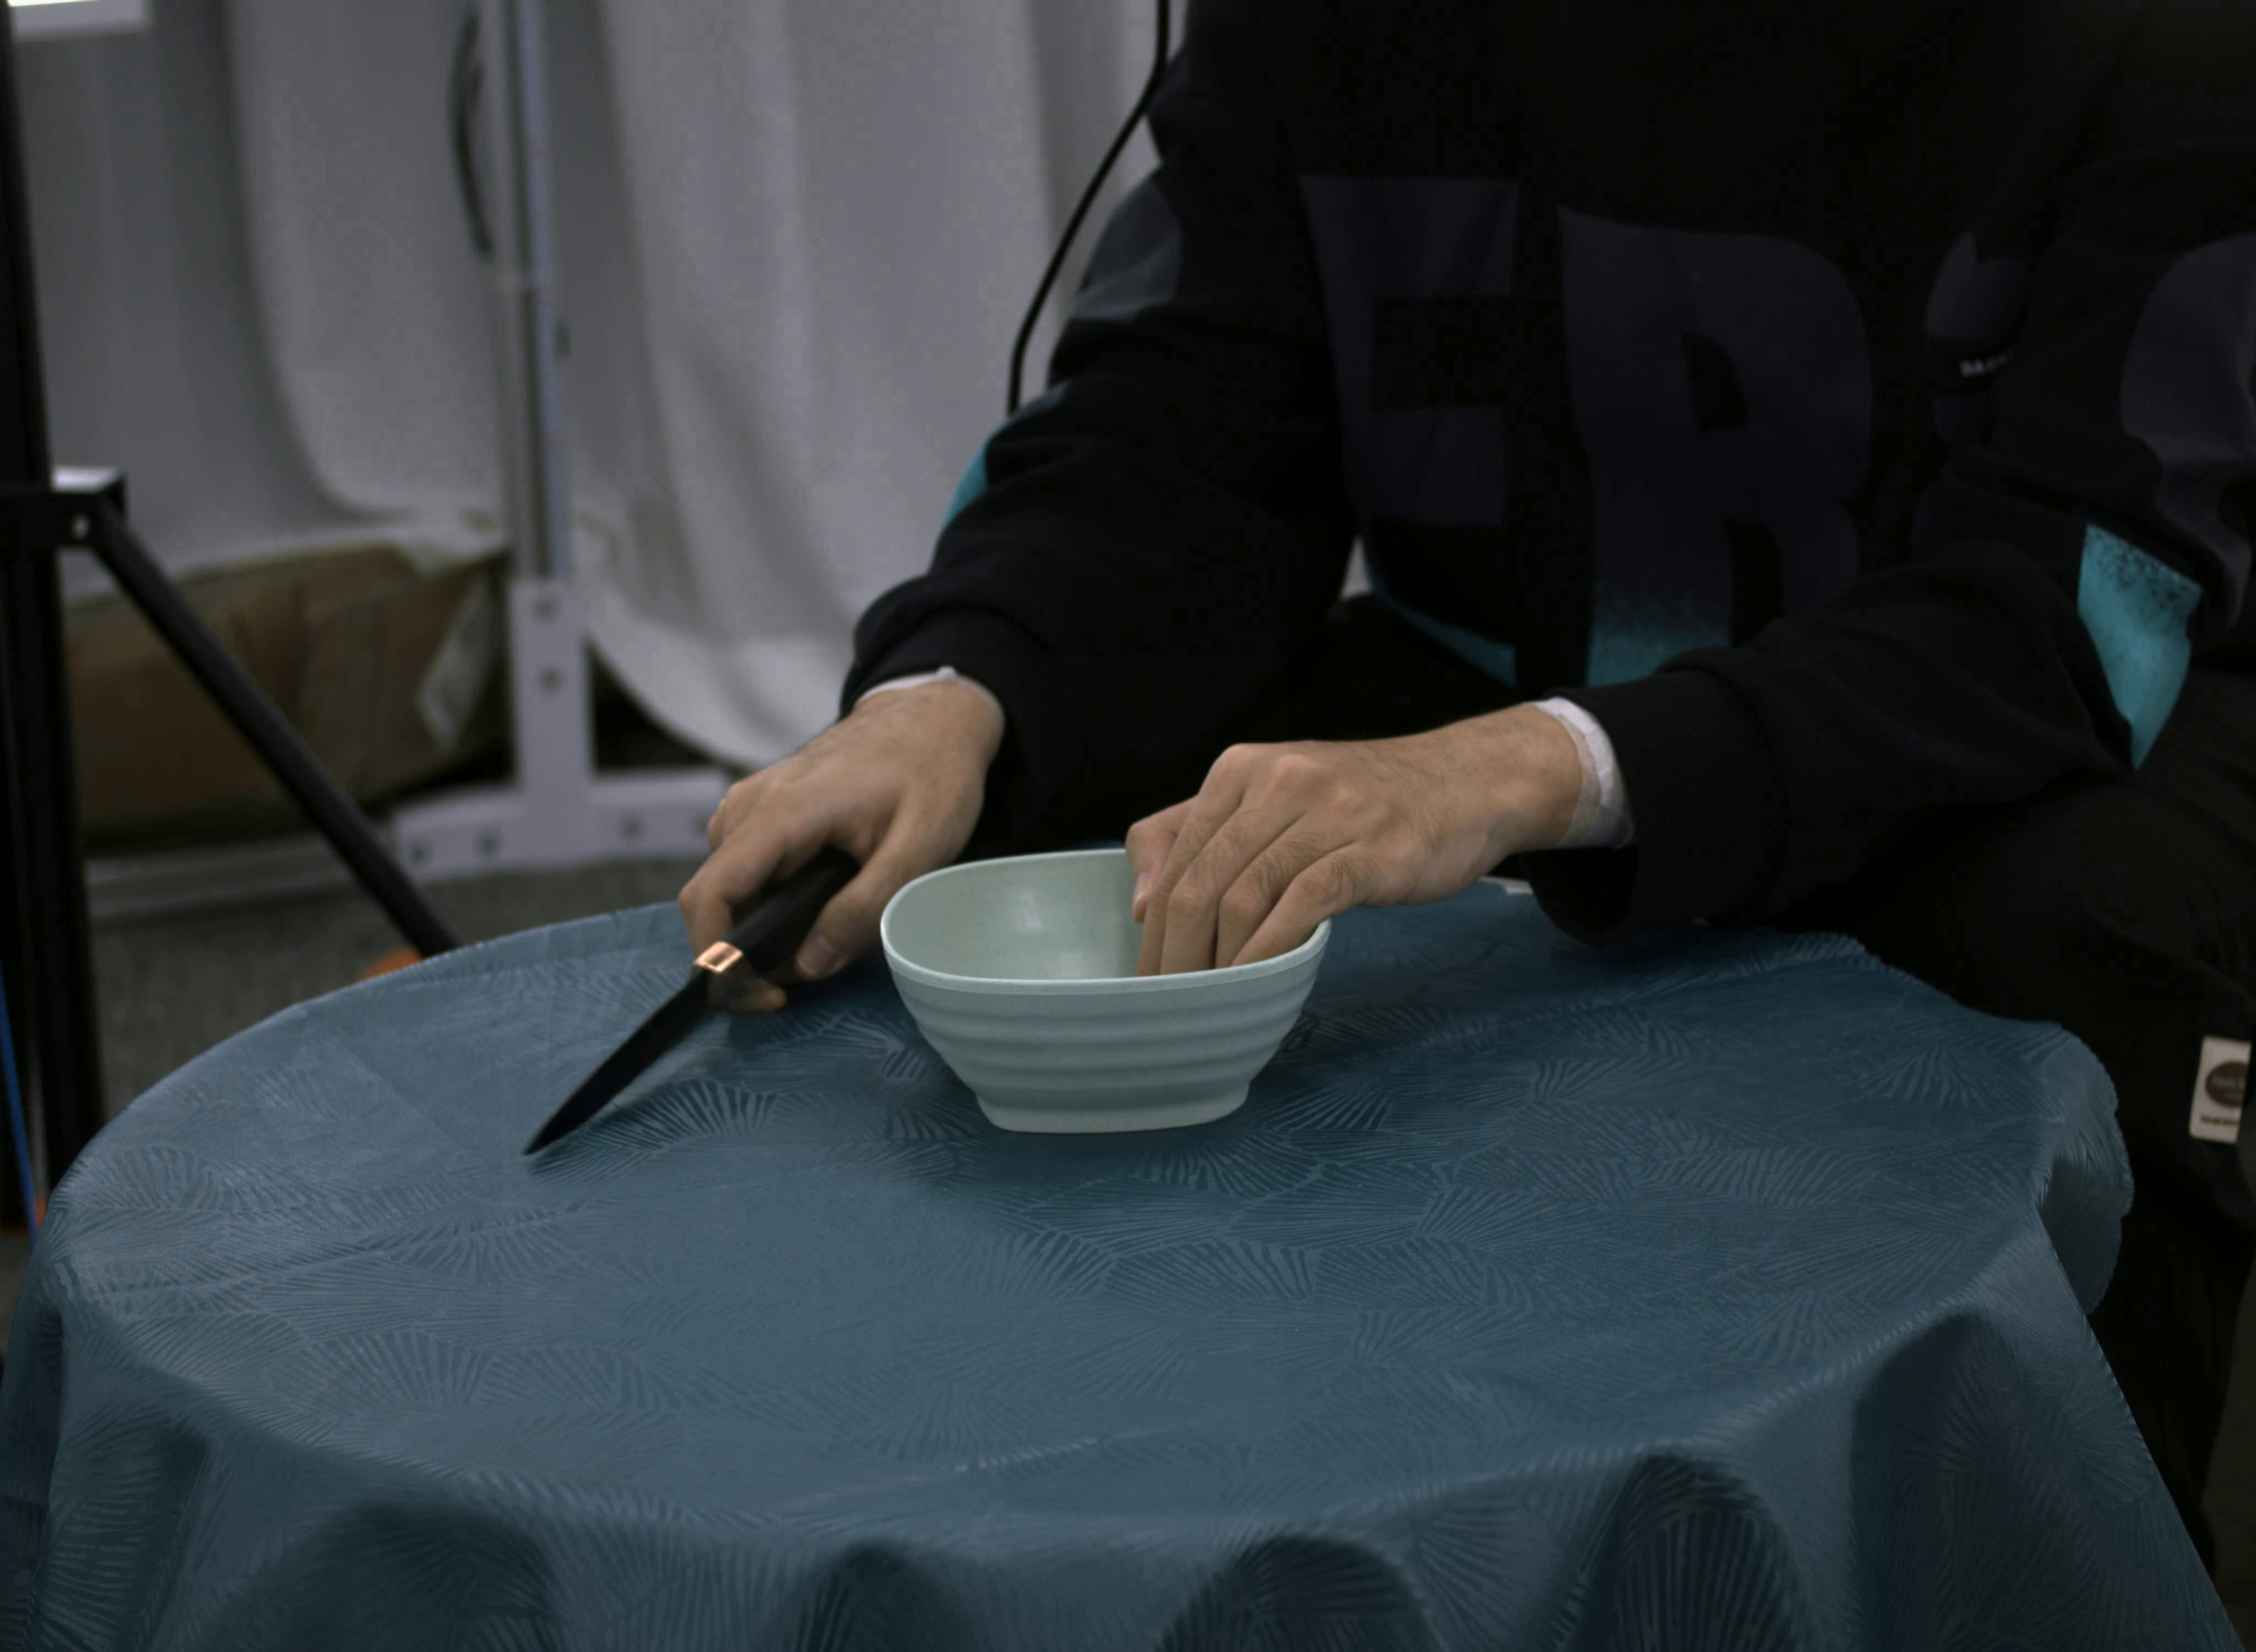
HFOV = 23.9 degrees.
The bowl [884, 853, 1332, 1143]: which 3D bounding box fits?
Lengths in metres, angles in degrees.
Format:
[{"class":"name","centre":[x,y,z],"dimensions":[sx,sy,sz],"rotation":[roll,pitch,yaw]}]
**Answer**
[{"class":"bowl","centre":[-0.004,0.056,1.642],"dimensions":[0.151,0.058,0.152],"rotation":[-4,16,0]}]

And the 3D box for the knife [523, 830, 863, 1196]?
[{"class":"knife","centre":[-0.136,0.056,1.696],"dimensions":[0.017,0.026,0.223],"rotation":[25,34,11]}]
